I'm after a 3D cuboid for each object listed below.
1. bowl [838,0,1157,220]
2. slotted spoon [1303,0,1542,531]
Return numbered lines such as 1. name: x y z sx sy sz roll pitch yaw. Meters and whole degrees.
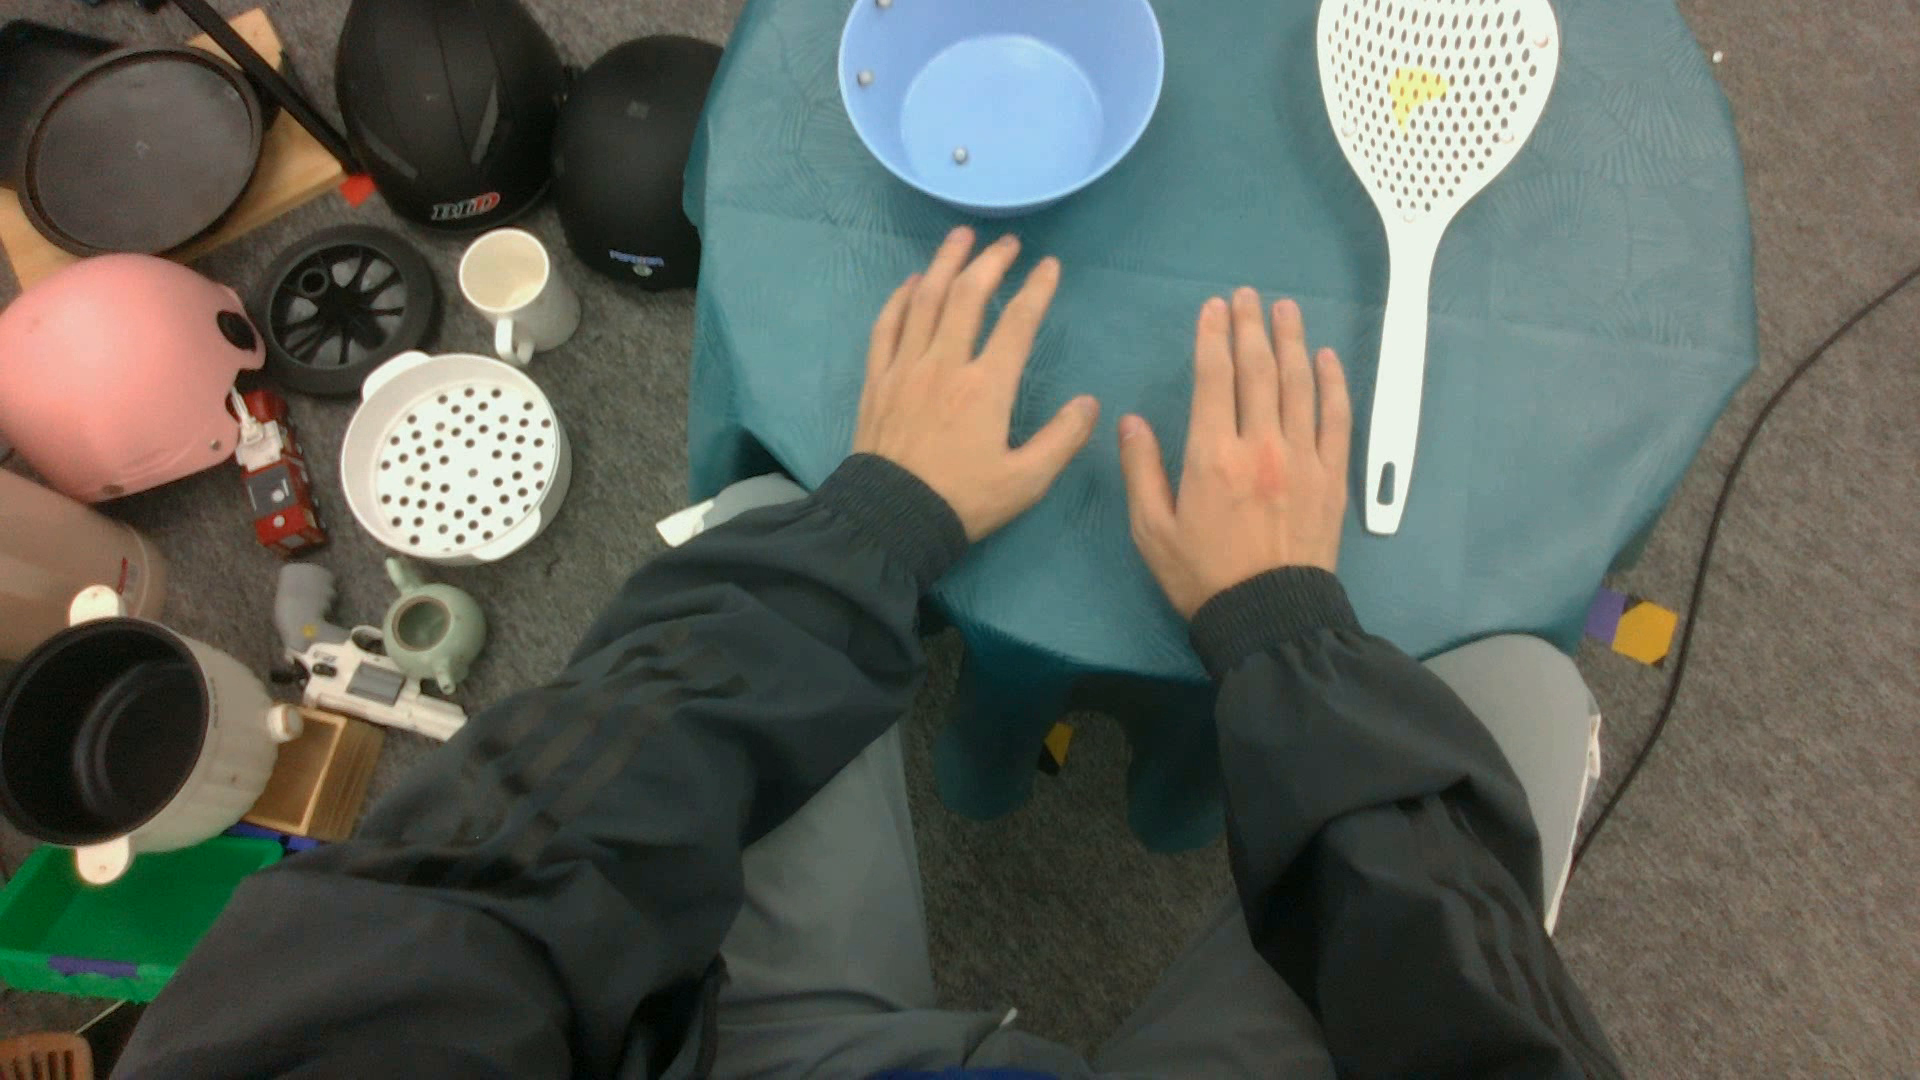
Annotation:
1. bowl: 0.022 -0.251 0.787 0.176 0.070 0.176 -1 74 3
2. slotted spoon: 0.248 -0.178 0.771 0.137 0.050 0.349 7 75 -1
